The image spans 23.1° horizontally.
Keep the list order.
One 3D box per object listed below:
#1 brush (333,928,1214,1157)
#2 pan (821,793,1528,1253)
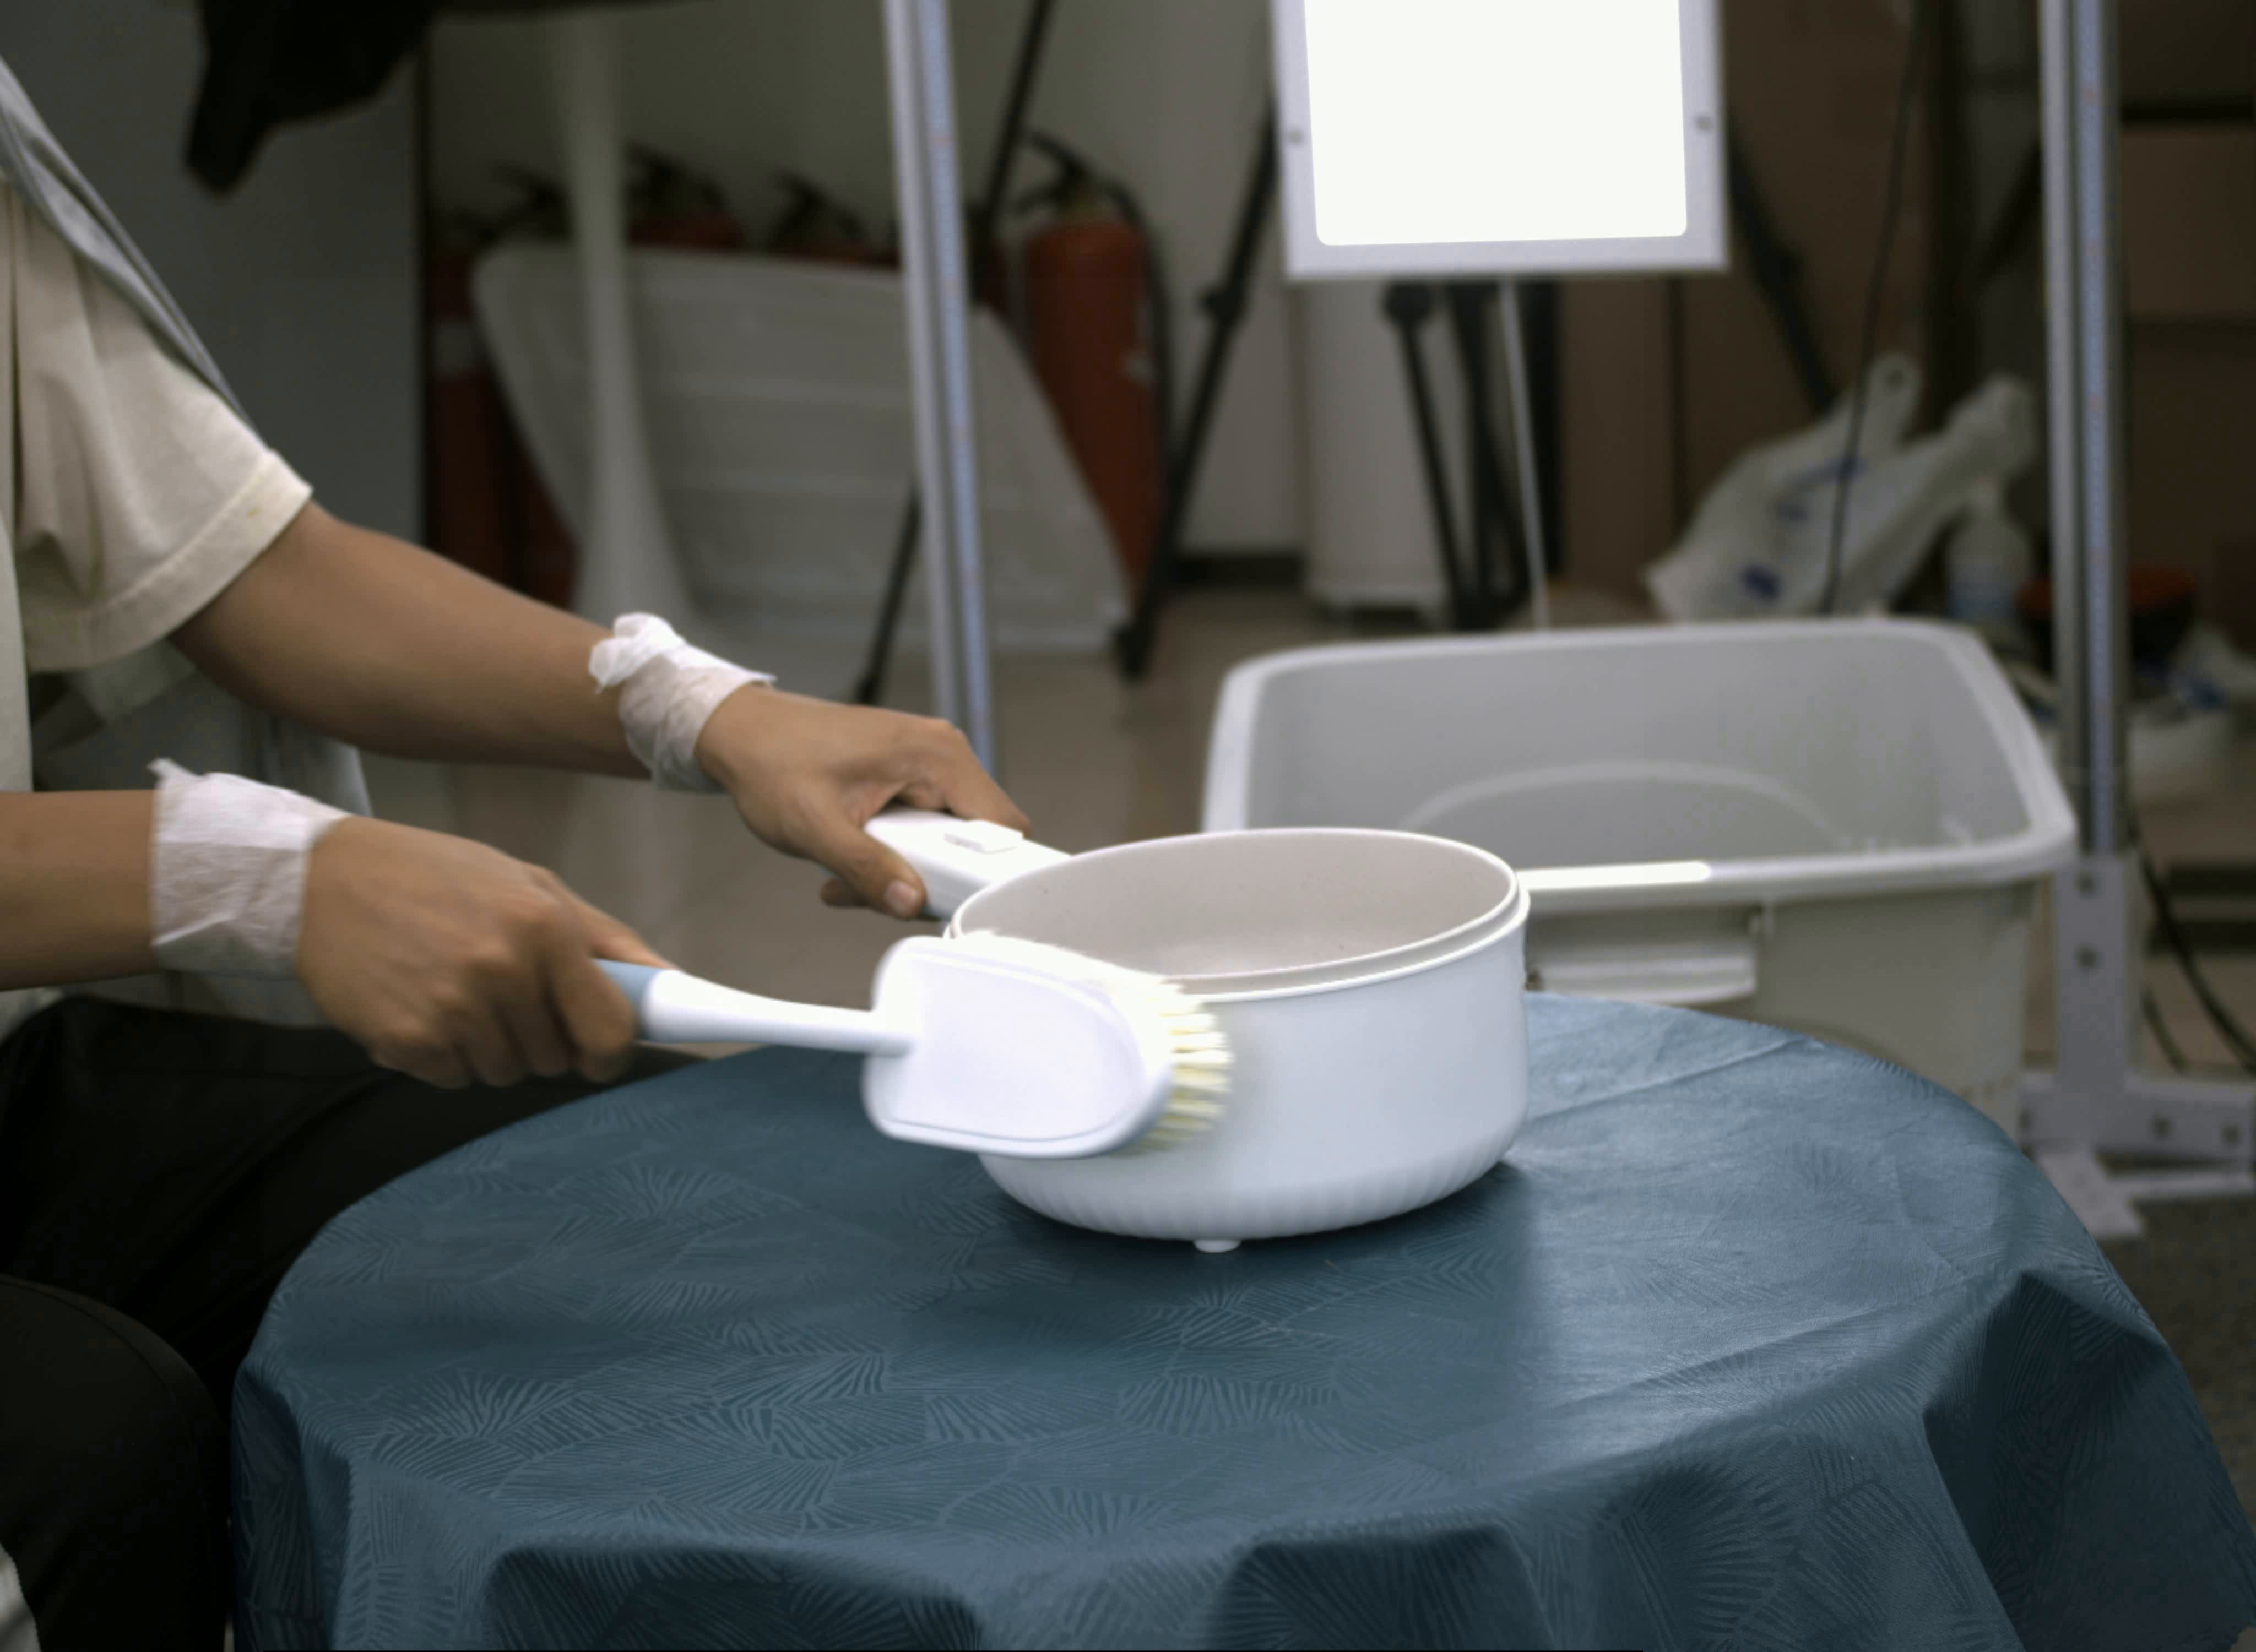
[{"bbox_3d":[-0.115,0.059,1.833,0.331,0.084,0.082,7,53,28],"label":"brush"},{"bbox_3d":[-0.003,0.062,1.950,0.196,0.102,0.362,-14,16,-31],"label":"pan"}]
